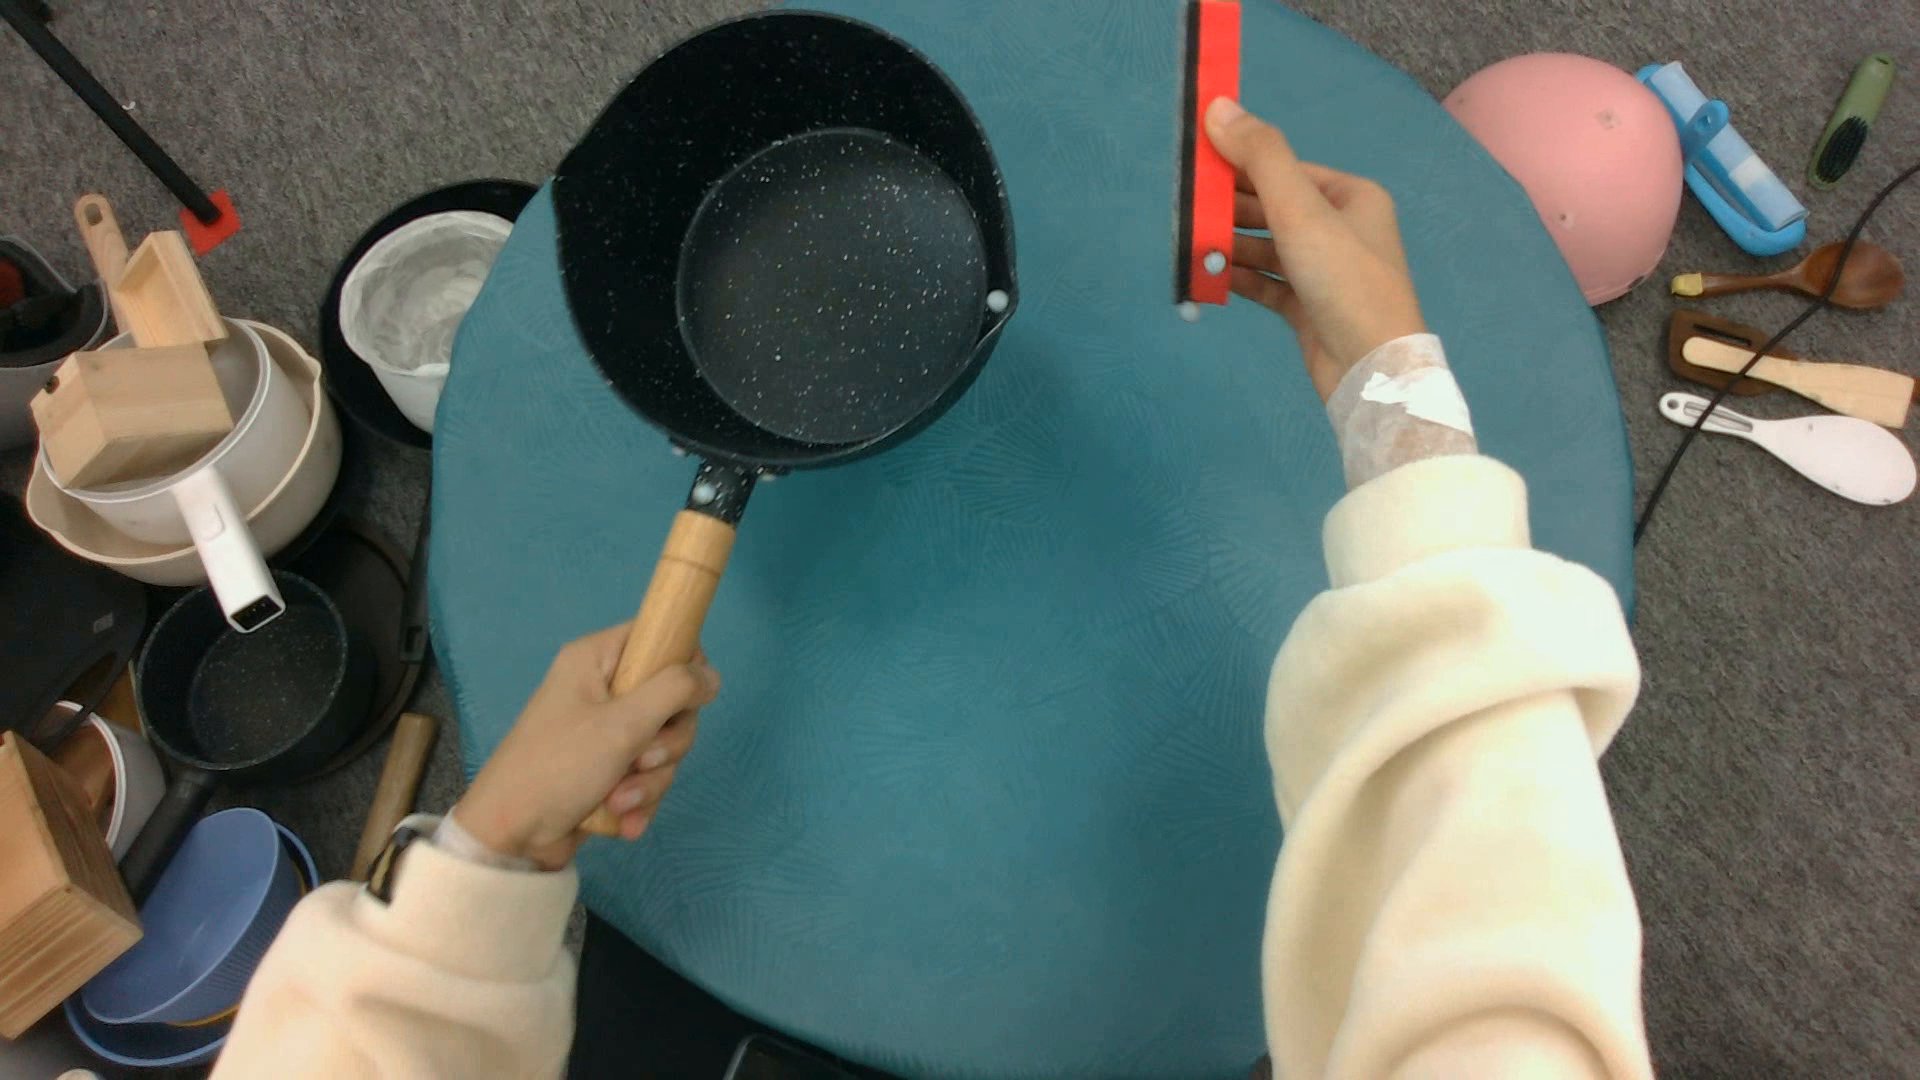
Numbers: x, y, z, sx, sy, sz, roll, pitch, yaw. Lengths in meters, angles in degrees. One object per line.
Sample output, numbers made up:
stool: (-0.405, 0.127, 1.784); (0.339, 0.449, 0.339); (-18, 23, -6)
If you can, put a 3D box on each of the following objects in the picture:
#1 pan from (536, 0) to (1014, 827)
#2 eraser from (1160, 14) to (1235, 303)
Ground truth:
pan: (-0.092, -0.049, 0.579); (0.207, 0.108, 0.343); (15, 86, 8)
eraser: (0.098, -0.155, 0.562); (0.023, 0.059, 0.108); (2, 74, 14)
